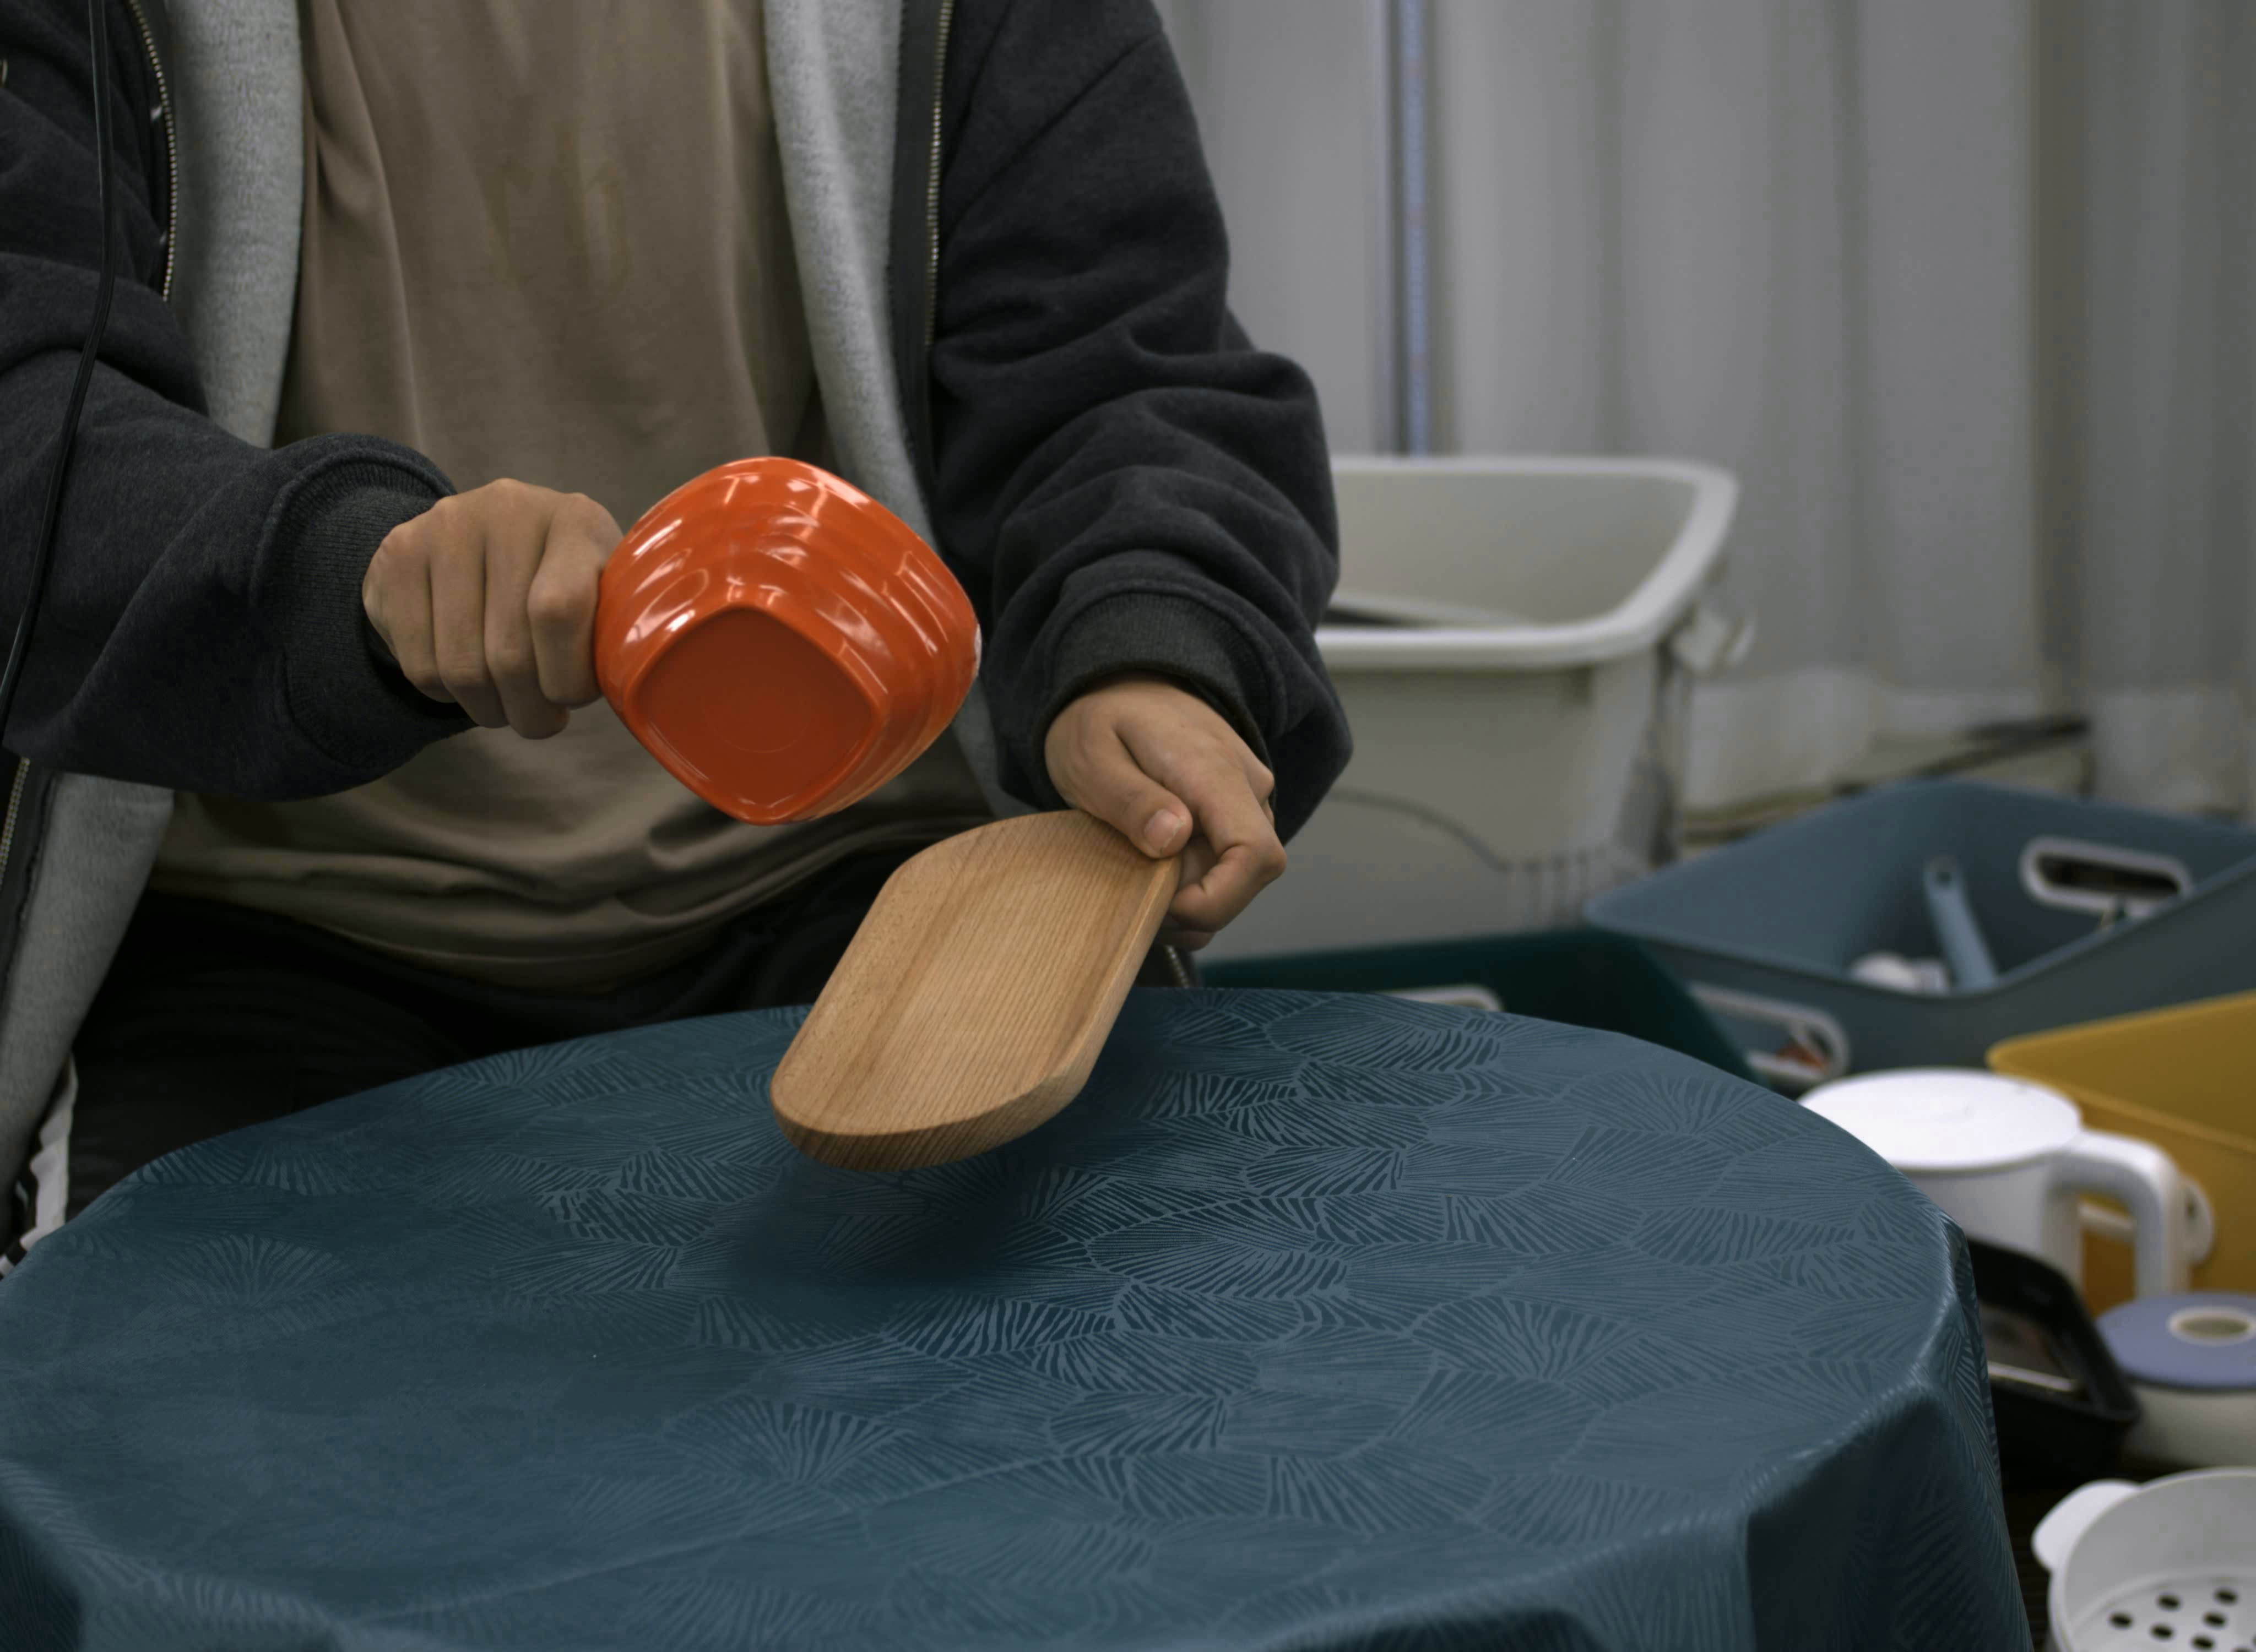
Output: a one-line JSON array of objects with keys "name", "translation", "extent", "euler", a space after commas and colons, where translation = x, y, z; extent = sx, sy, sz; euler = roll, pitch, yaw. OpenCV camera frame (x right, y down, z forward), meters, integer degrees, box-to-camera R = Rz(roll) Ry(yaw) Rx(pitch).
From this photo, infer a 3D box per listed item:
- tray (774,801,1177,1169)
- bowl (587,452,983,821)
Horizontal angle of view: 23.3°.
[{"name": "tray", "translation": [-0.045, 0.047, 1.724], "extent": [0.101, 0.020, 0.233], "euler": [-6, 22, 14]}, {"name": "bowl", "translation": [-0.105, -0.046, 1.606], "extent": [0.119, 0.117, 0.052], "euler": [0, 33, 10]}]
